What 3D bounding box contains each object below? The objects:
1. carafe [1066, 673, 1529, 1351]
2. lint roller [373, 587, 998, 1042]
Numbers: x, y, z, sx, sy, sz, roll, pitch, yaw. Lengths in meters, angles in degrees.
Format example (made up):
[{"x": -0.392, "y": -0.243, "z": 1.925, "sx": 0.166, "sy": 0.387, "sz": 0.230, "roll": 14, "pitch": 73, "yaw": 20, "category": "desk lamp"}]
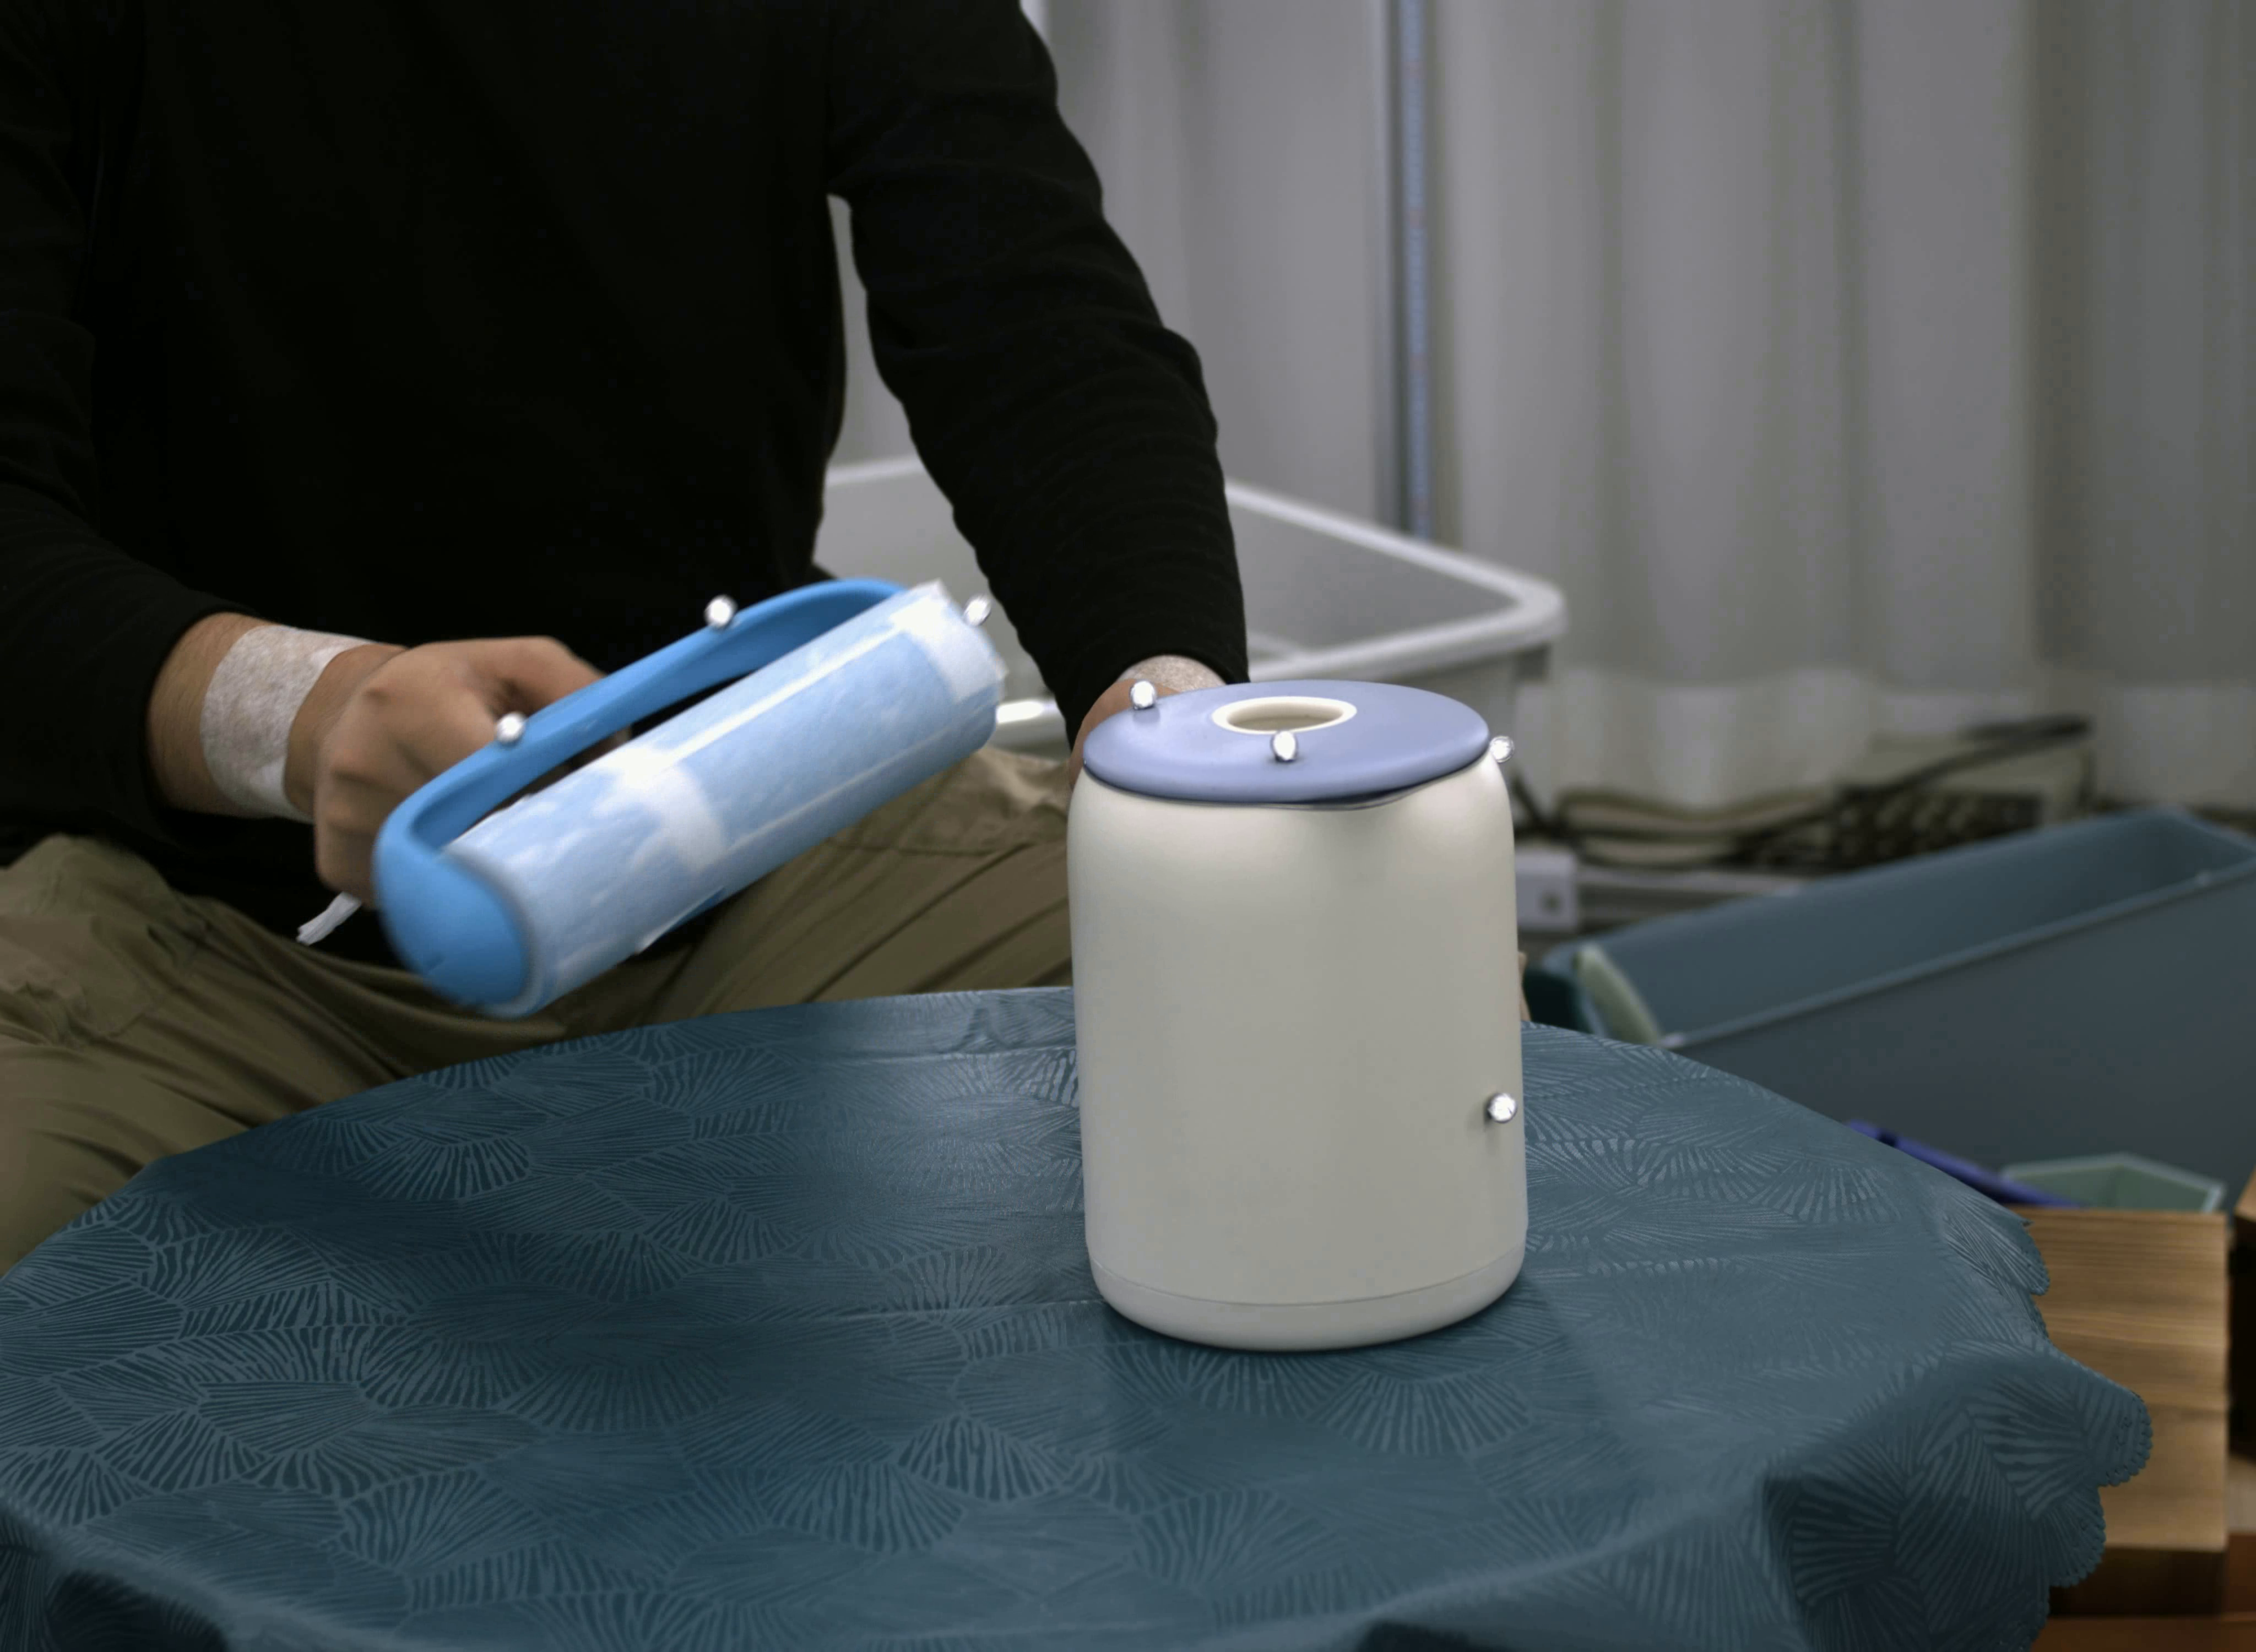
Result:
[{"x": 0.042, "y": 0.048, "z": 1.625, "sx": 0.131, "sy": 0.182, "sz": 0.192, "roll": -7, "pitch": 12, "yaw": -18, "category": "carafe"}, {"x": -0.164, "y": -0.004, "z": 1.626, "sx": 0.181, "sy": 0.067, "sz": 0.230, "roll": 0, "pitch": 25, "yaw": 43, "category": "lint roller"}]
